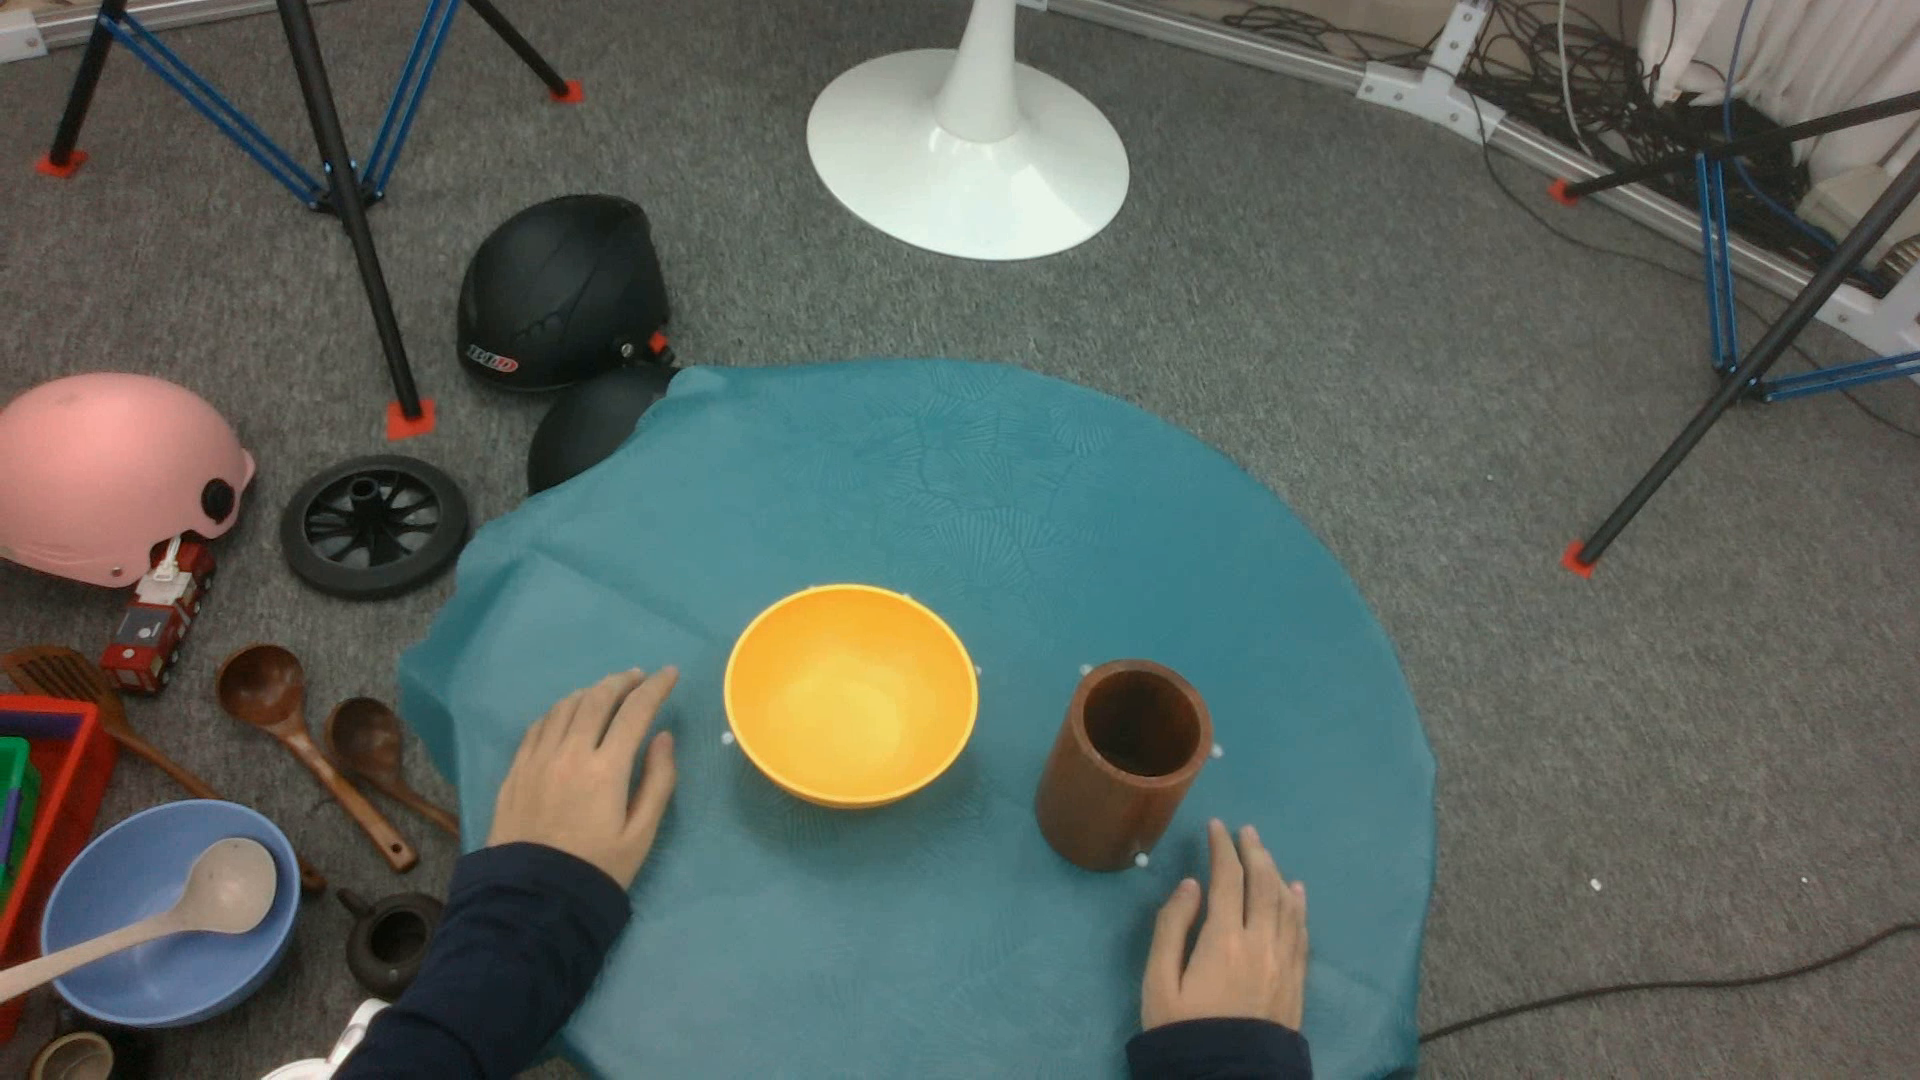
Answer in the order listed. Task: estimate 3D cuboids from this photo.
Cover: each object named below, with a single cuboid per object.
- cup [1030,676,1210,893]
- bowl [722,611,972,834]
[{"bbox_3d":[0.089,0.143,0.790,0.088,0.118,0.088,4,52,-5],"label":"cup"},{"bbox_3d":[-0.068,0.117,0.820,0.145,0.060,0.146,4,53,-5],"label":"bowl"}]
